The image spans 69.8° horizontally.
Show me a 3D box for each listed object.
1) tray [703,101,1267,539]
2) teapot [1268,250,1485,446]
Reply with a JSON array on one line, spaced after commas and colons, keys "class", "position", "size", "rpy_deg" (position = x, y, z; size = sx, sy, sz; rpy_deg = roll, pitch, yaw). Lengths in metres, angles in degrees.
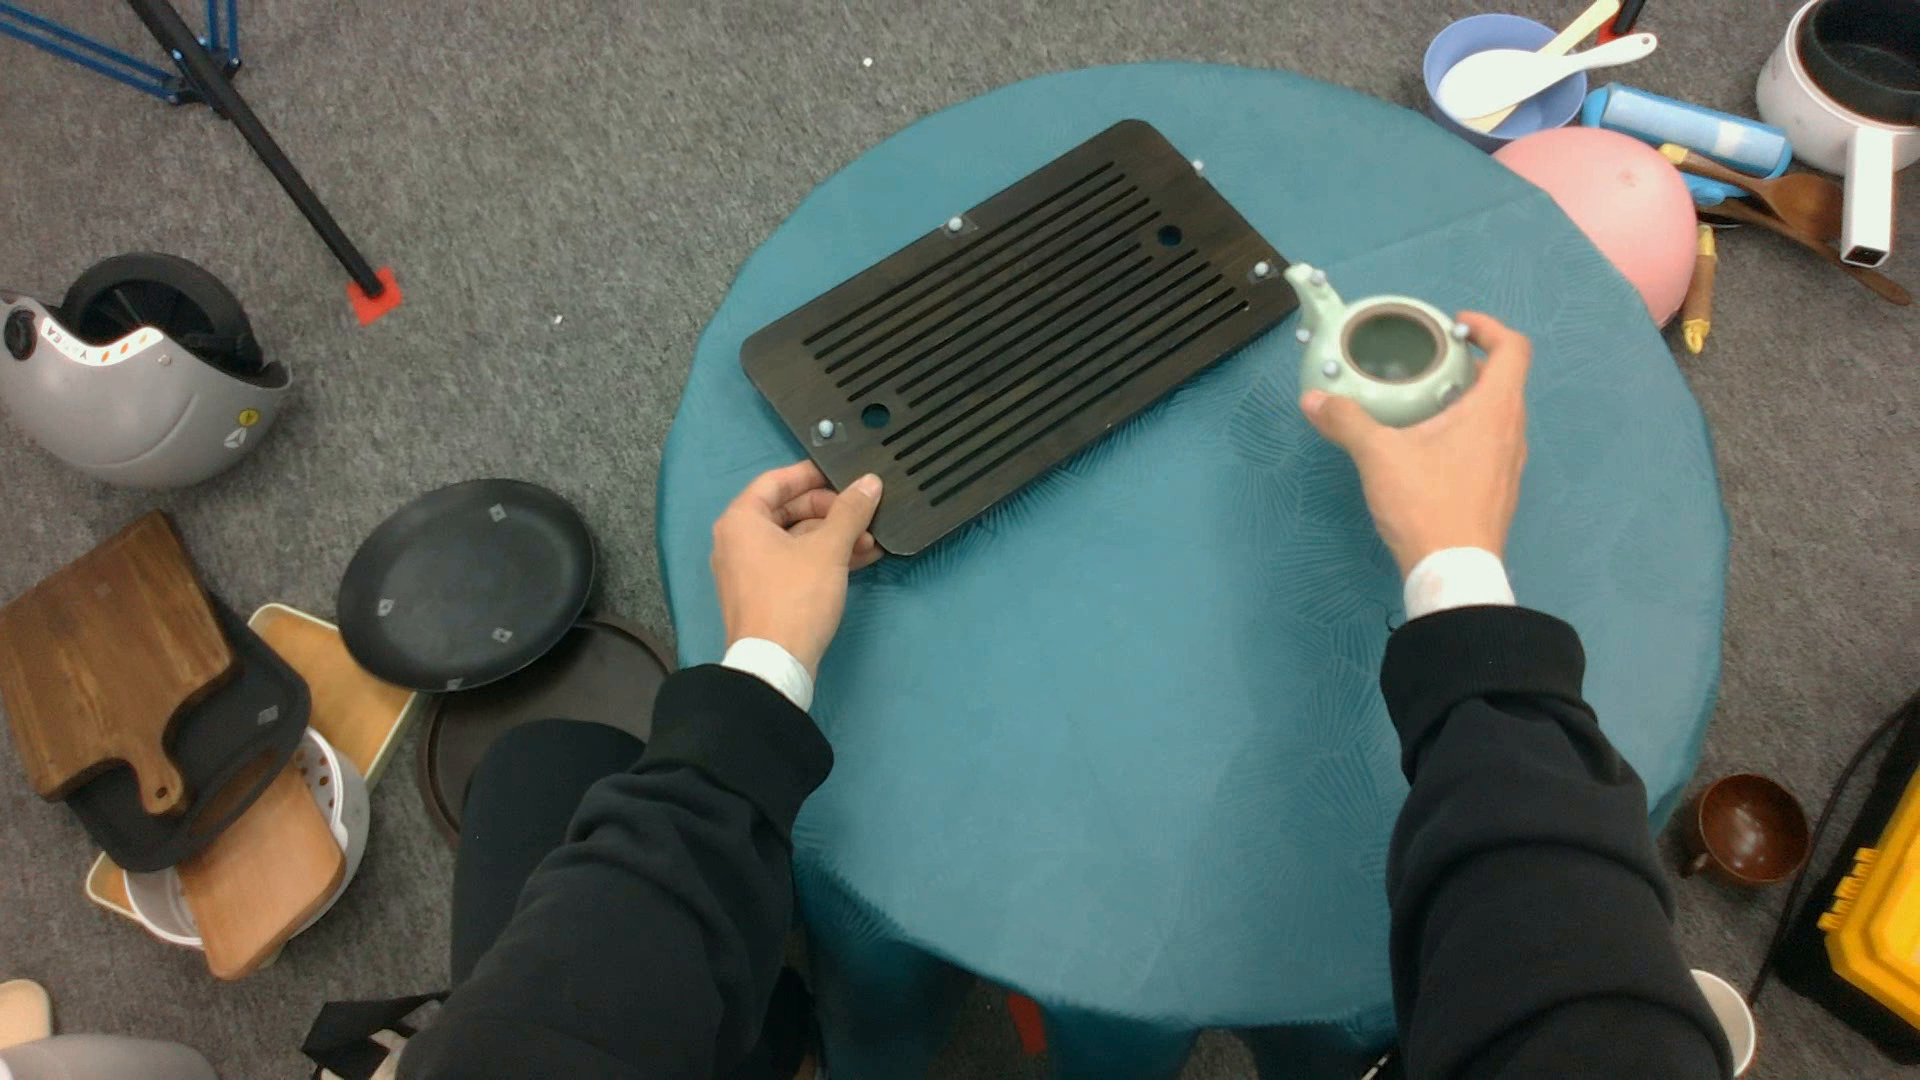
[{"class": "tray", "position": [0.018, -0.138, 0.810], "size": [0.307, 0.018, 0.170], "rpy_deg": [-34, 71, -17]}, {"class": "teapot", "position": [0.217, -0.094, 0.738], "size": [0.088, 0.074, 0.144], "rpy_deg": [-36, 60, -14]}]
